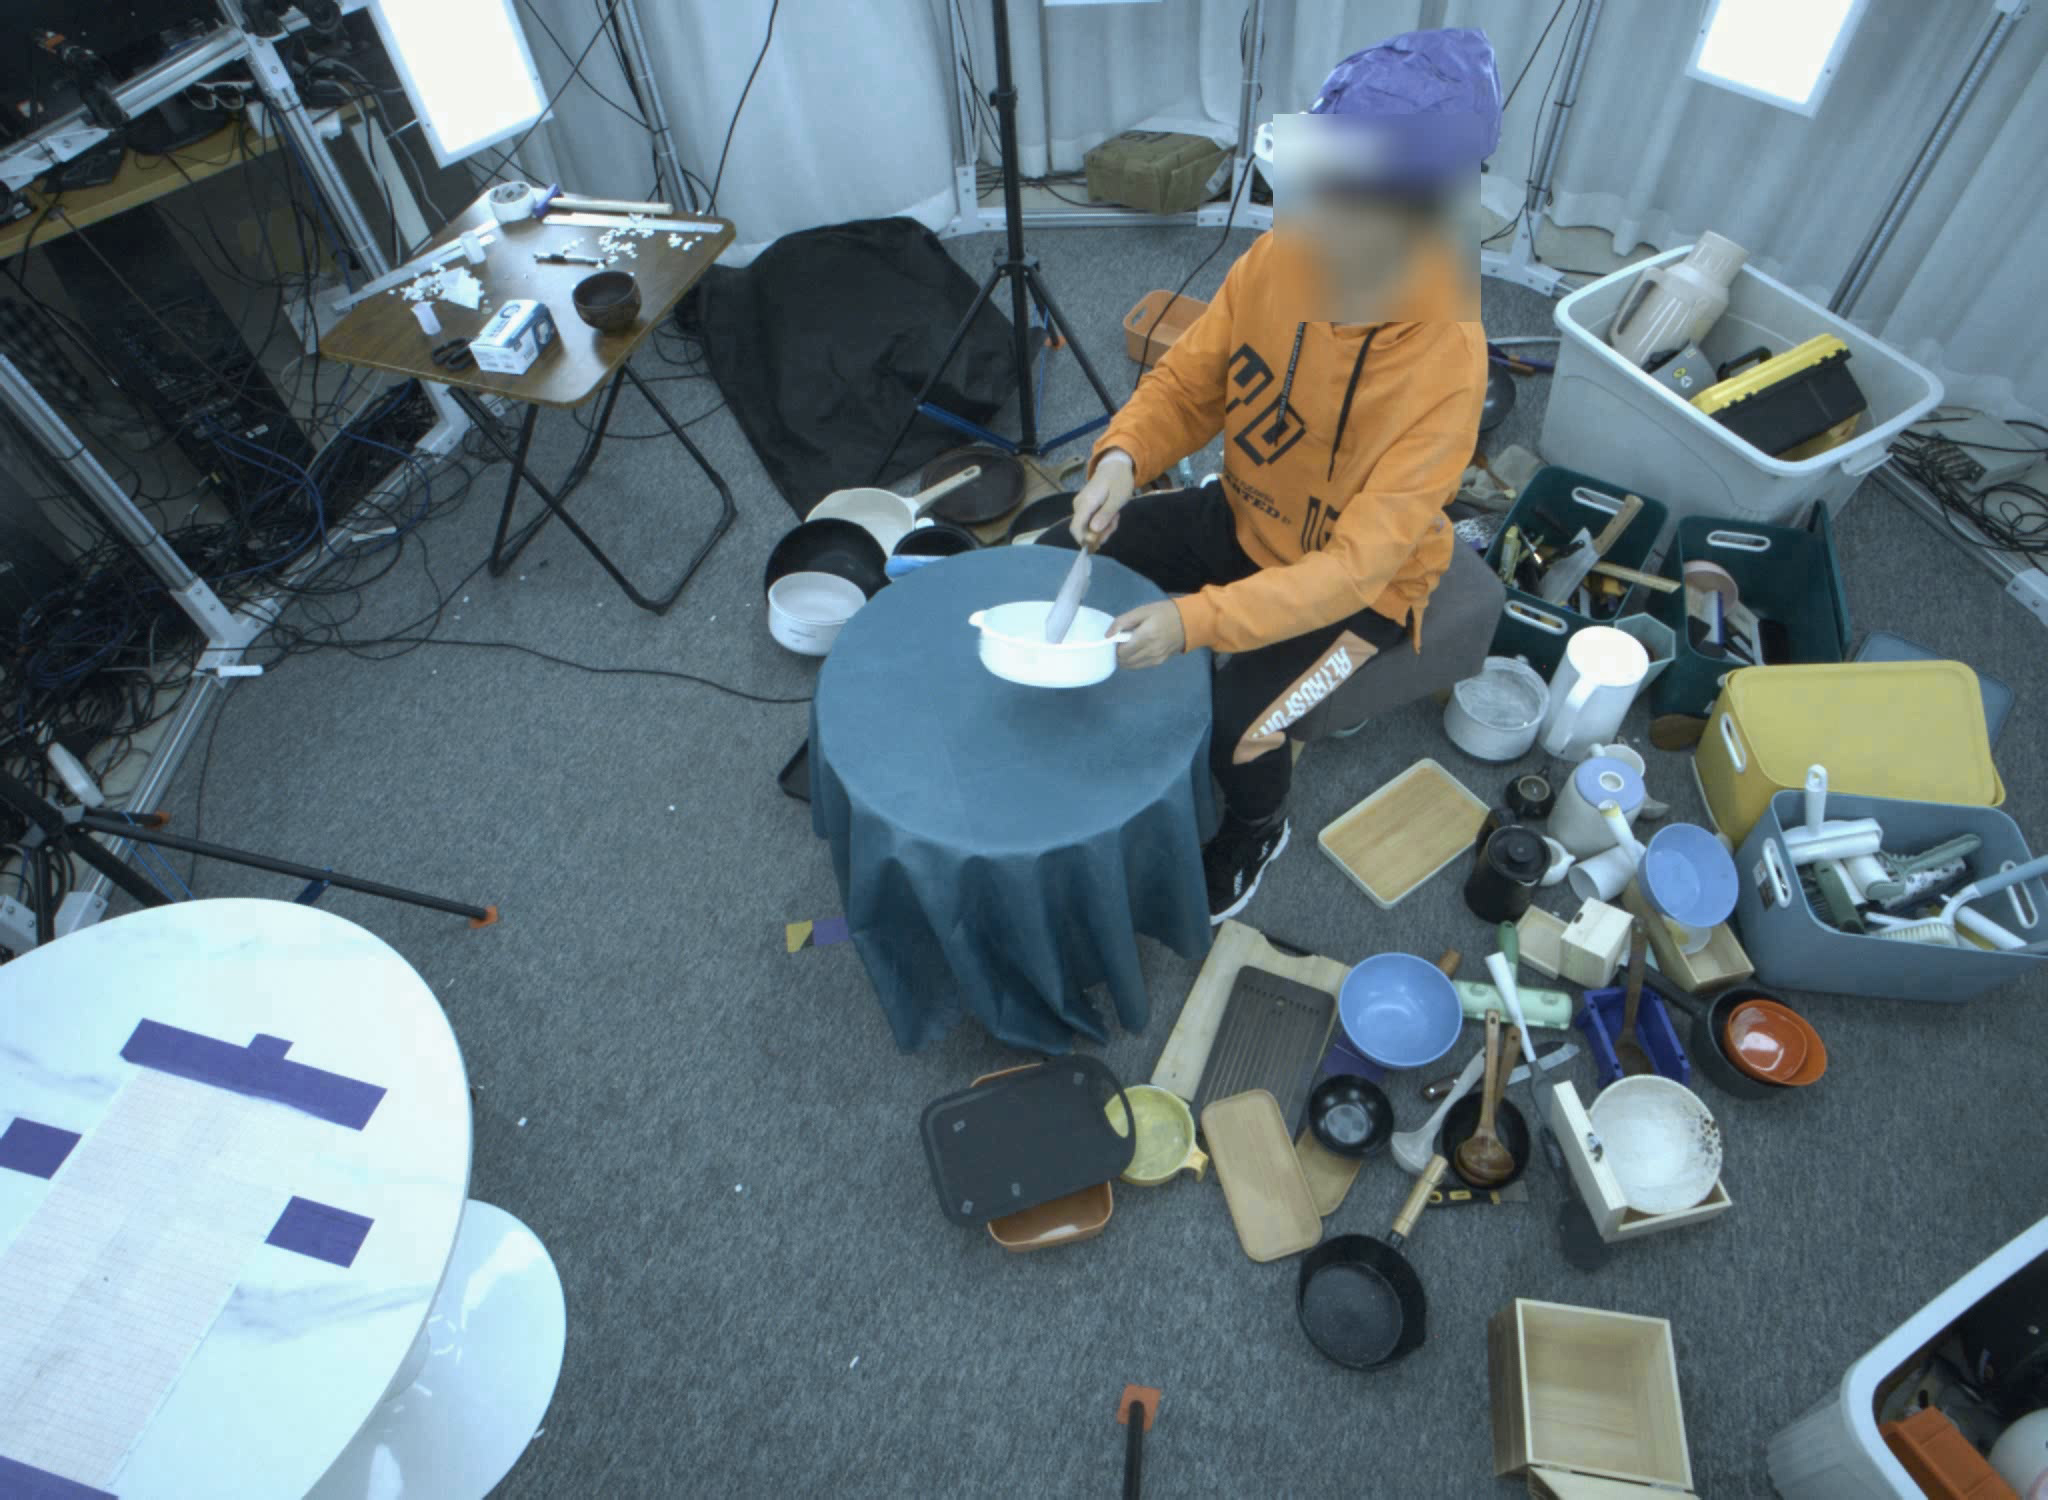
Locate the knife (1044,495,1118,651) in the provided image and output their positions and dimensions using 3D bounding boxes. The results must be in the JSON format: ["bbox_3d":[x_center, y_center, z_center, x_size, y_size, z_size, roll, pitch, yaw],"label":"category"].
[{"bbox_3d":[0.080,-0.249,1.758,0.021,0.094,0.305,13,50,16],"label":"knife"}]

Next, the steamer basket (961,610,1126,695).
[{"bbox_3d":[0.028,-0.137,1.729,0.229,0.070,0.201,2,24,7],"label":"steamer basket"}]
